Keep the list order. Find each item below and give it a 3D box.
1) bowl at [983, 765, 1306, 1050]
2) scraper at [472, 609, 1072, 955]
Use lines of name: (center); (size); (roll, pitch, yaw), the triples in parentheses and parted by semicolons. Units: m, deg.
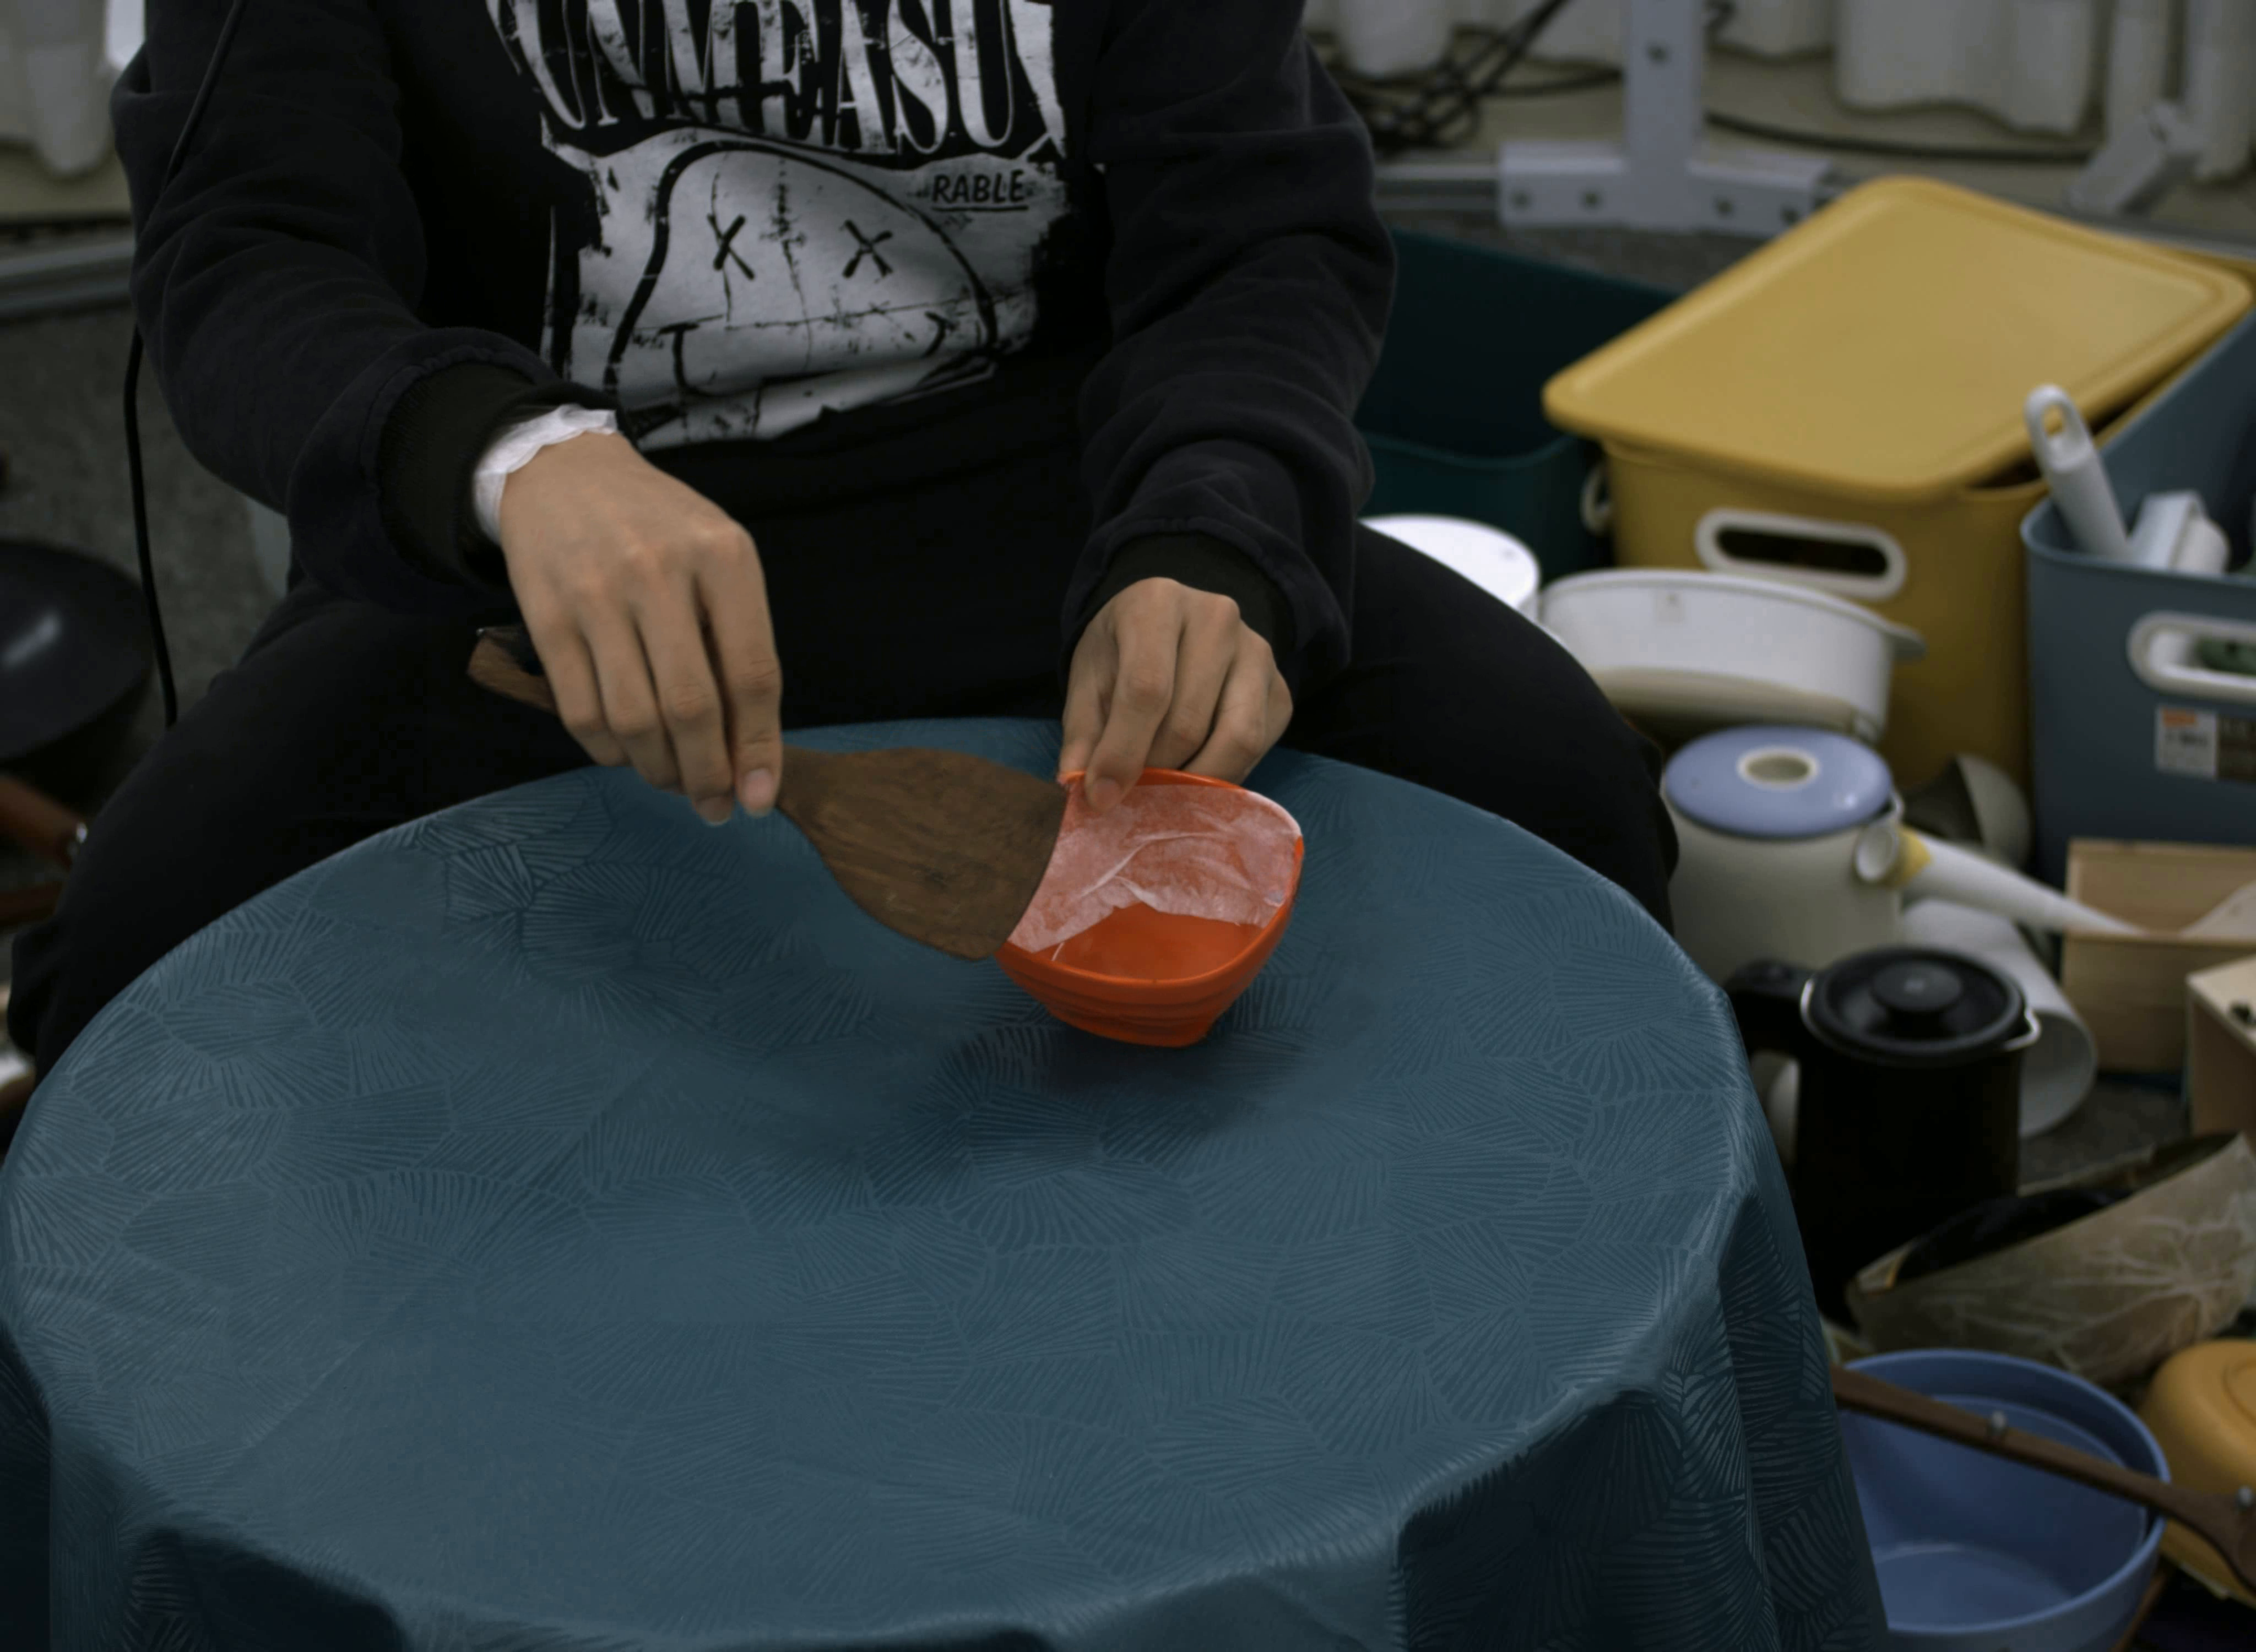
bowl: (0.005, 0.035, 1.949); (0.118, 0.050, 0.121); (-2, 42, 2)
scraper: (-0.123, -0.023, 1.905); (0.210, 0.010, 0.077); (23, 63, 5)
